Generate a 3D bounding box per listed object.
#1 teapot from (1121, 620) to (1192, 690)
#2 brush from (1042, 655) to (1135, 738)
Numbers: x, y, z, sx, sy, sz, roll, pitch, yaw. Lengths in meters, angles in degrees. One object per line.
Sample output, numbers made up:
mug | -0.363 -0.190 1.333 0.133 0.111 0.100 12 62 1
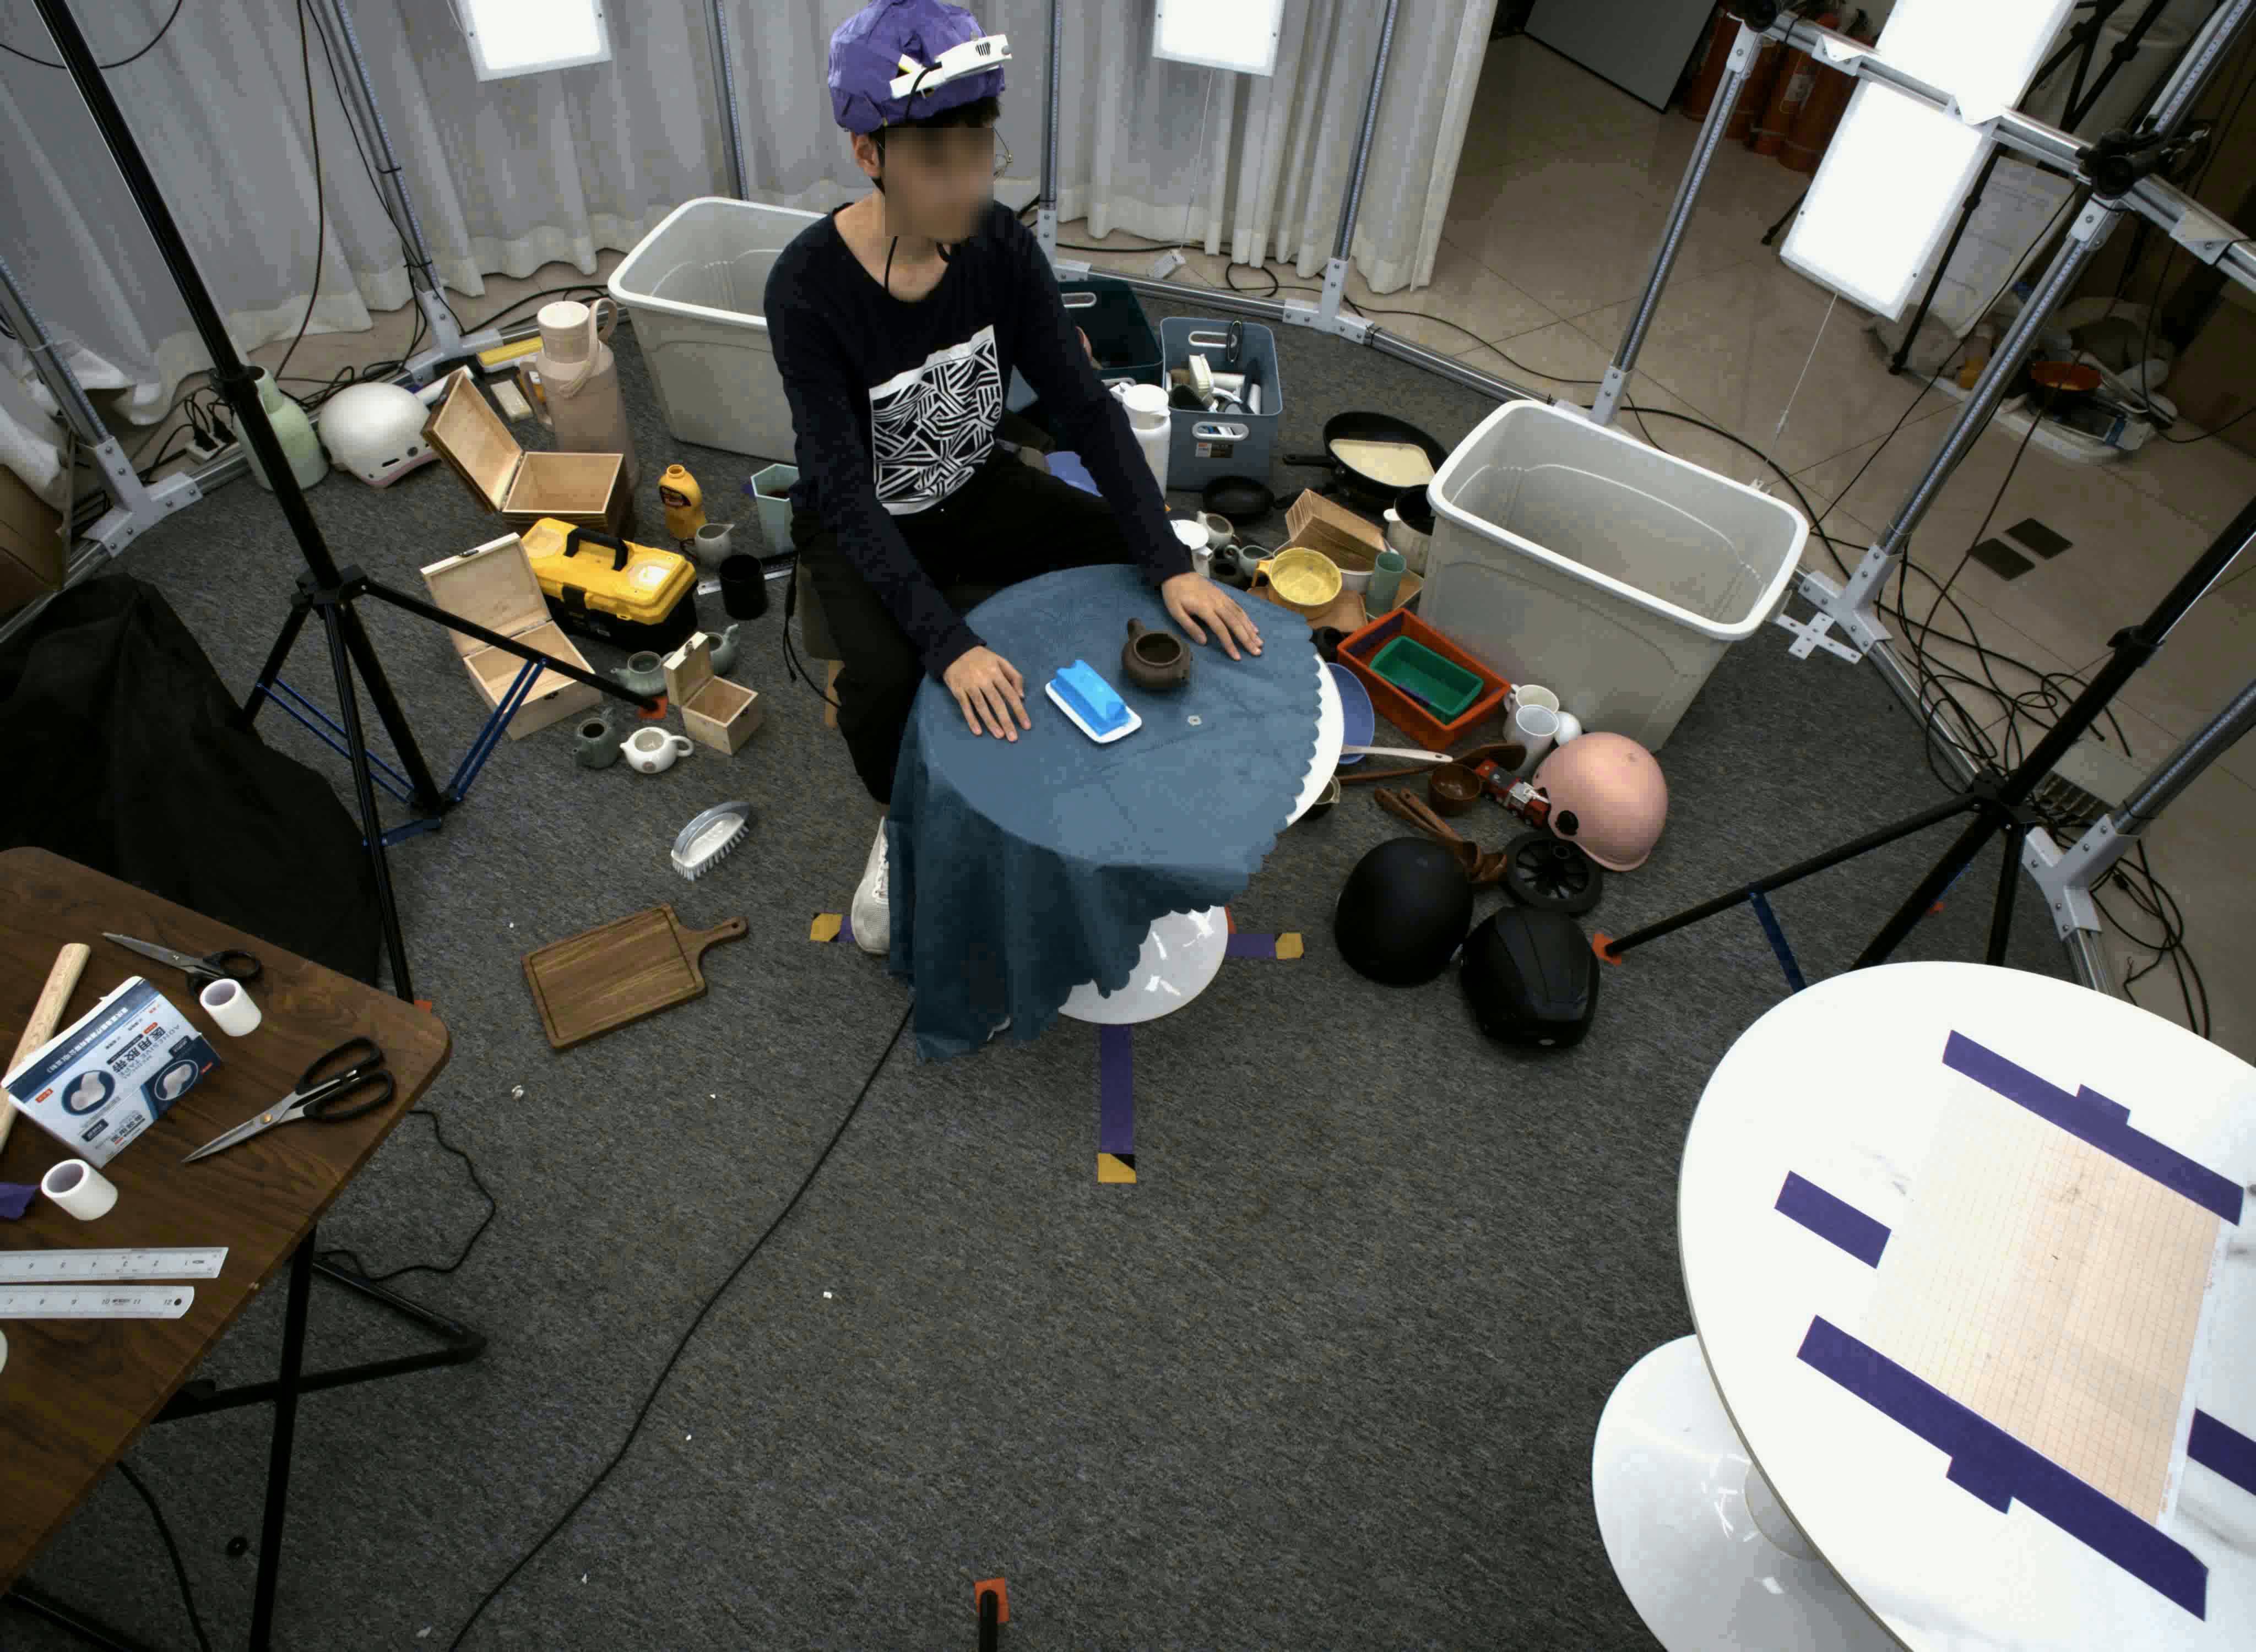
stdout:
teapot | 0.039 -0.242 1.847 0.103 0.052 0.156 -25 54 -25
brush | -0.053 -0.187 1.787 0.084 0.054 0.147 -24 56 -26
